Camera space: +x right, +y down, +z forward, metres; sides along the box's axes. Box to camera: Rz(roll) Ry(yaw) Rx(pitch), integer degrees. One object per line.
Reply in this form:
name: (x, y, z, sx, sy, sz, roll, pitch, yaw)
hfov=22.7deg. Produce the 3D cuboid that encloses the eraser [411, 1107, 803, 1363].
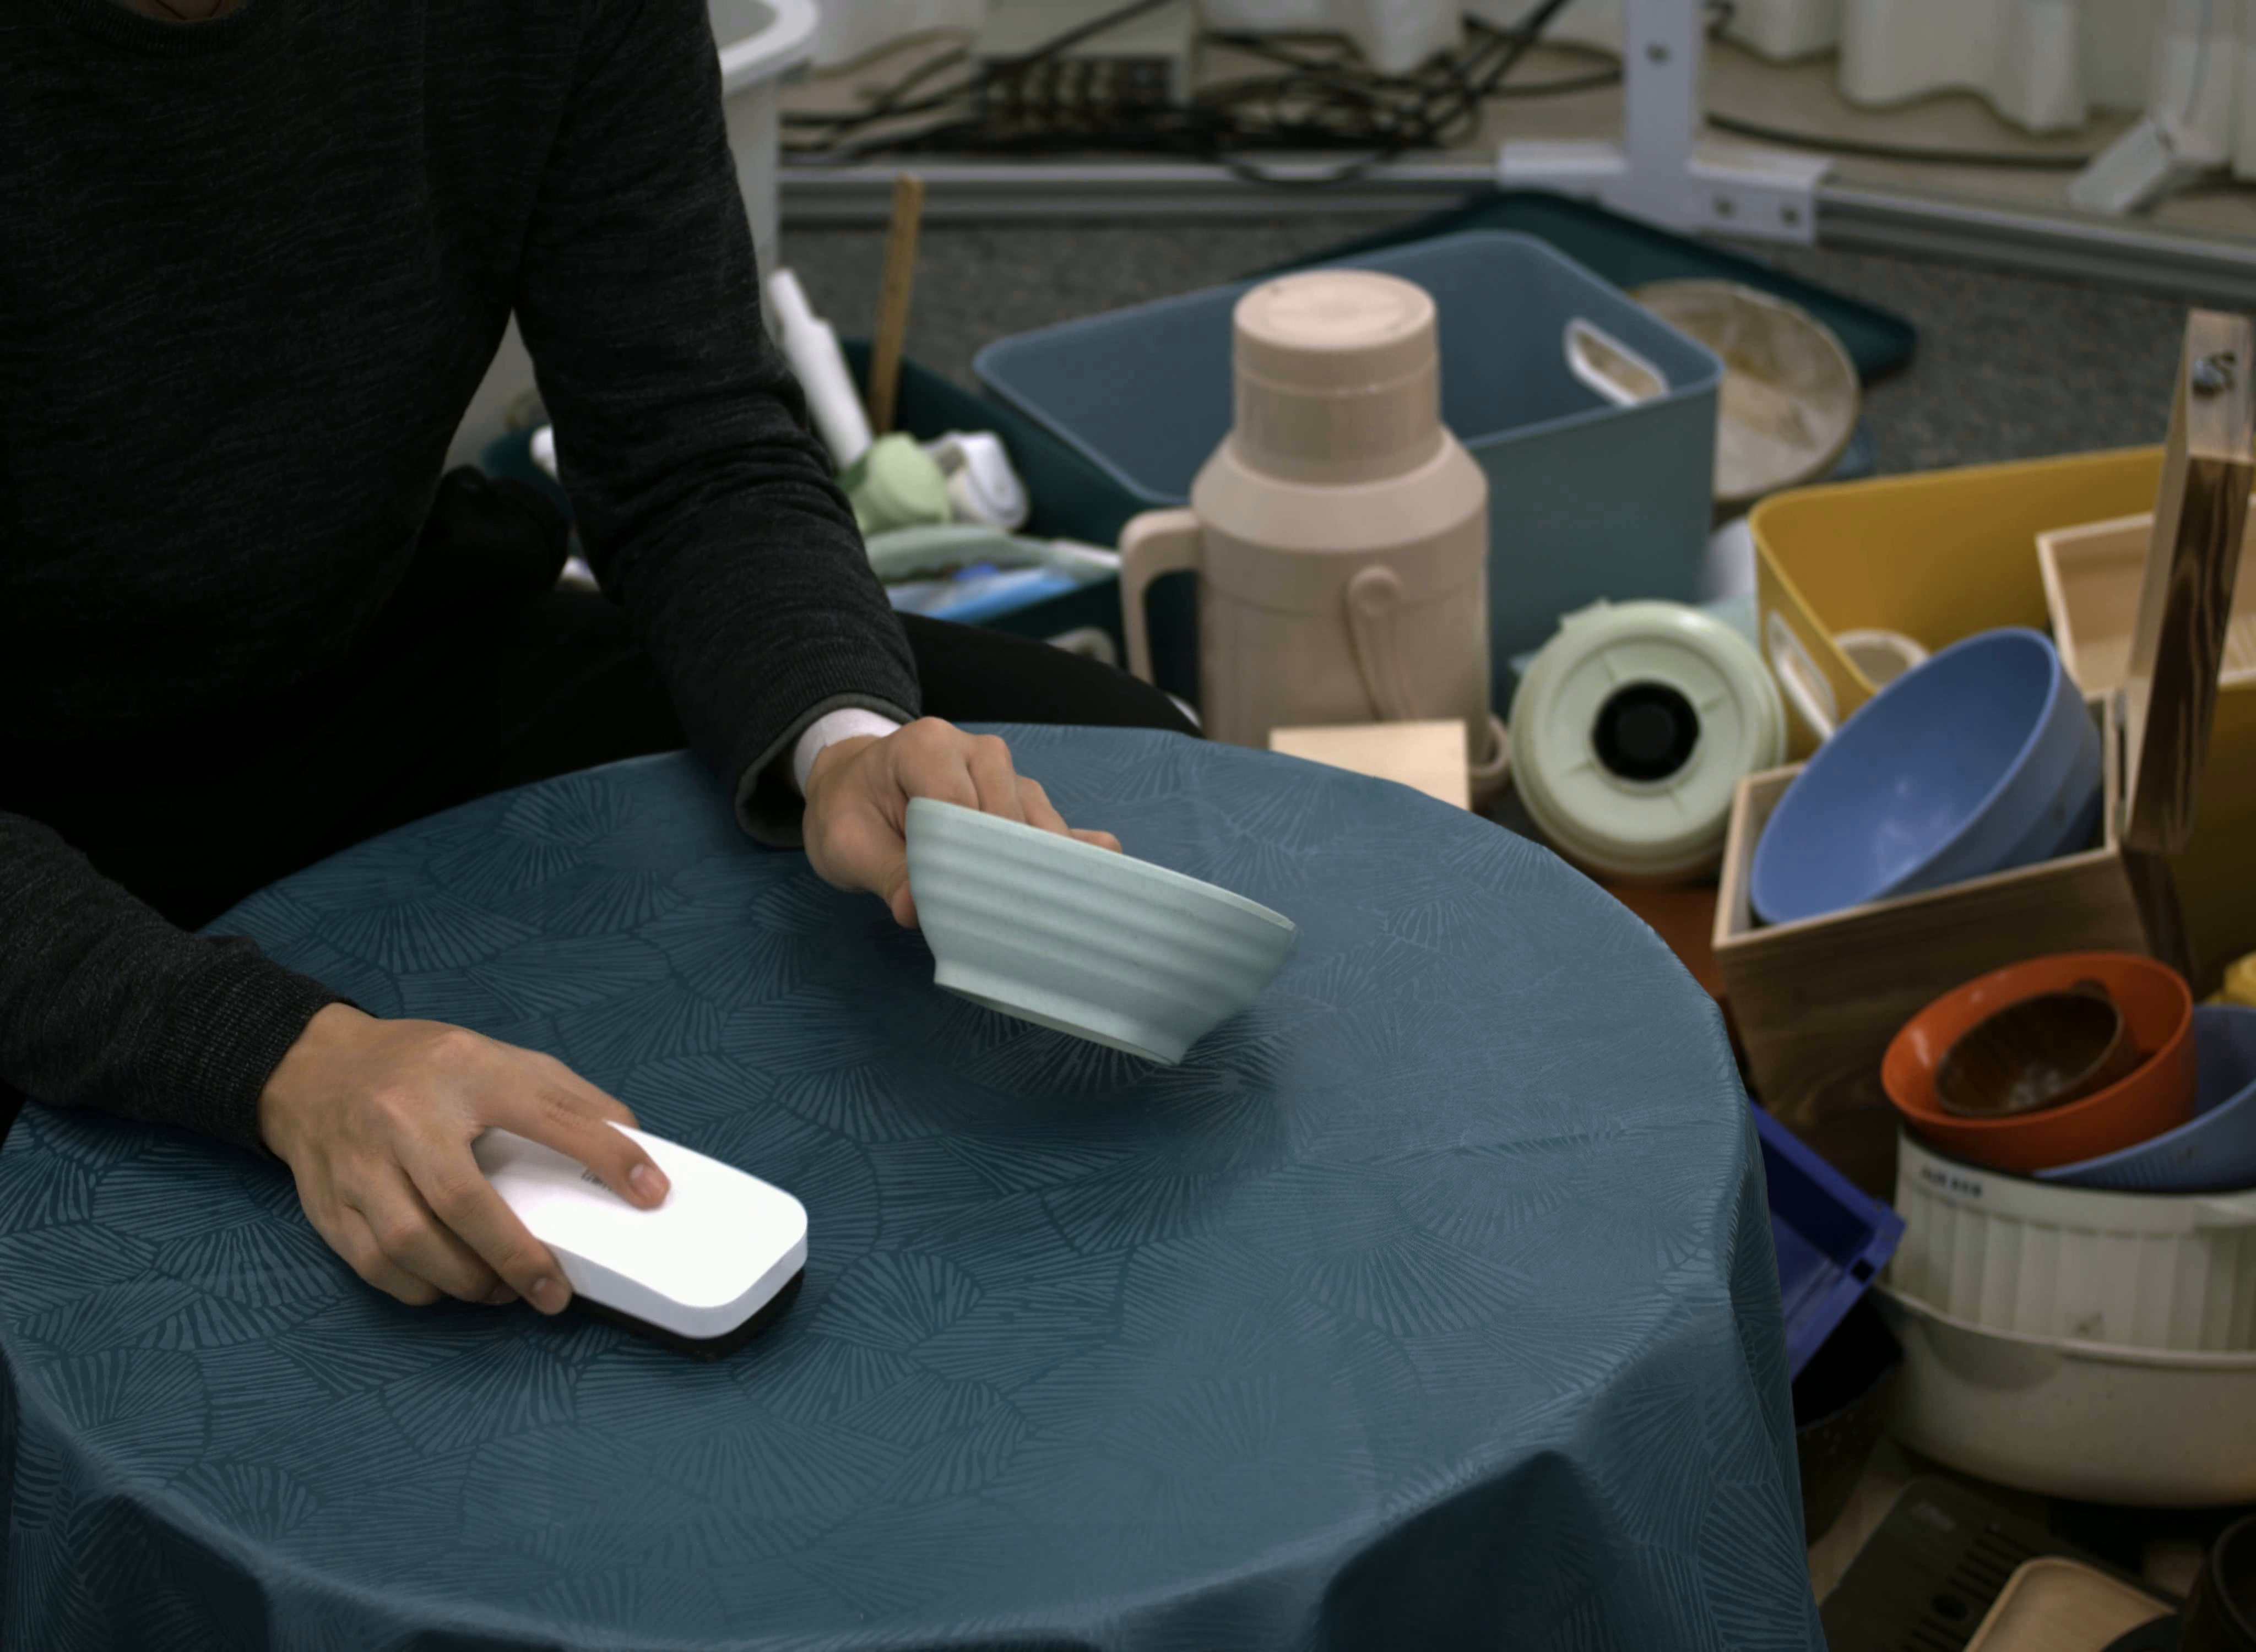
eraser: (-0.168, 0.129, 1.817, 0.131, 0.034, 0.064, 20, 40, 30)

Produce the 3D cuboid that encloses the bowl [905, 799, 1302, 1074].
bowl: (-0.016, 0.043, 1.907, 0.151, 0.059, 0.151, 19, -4, 2)
